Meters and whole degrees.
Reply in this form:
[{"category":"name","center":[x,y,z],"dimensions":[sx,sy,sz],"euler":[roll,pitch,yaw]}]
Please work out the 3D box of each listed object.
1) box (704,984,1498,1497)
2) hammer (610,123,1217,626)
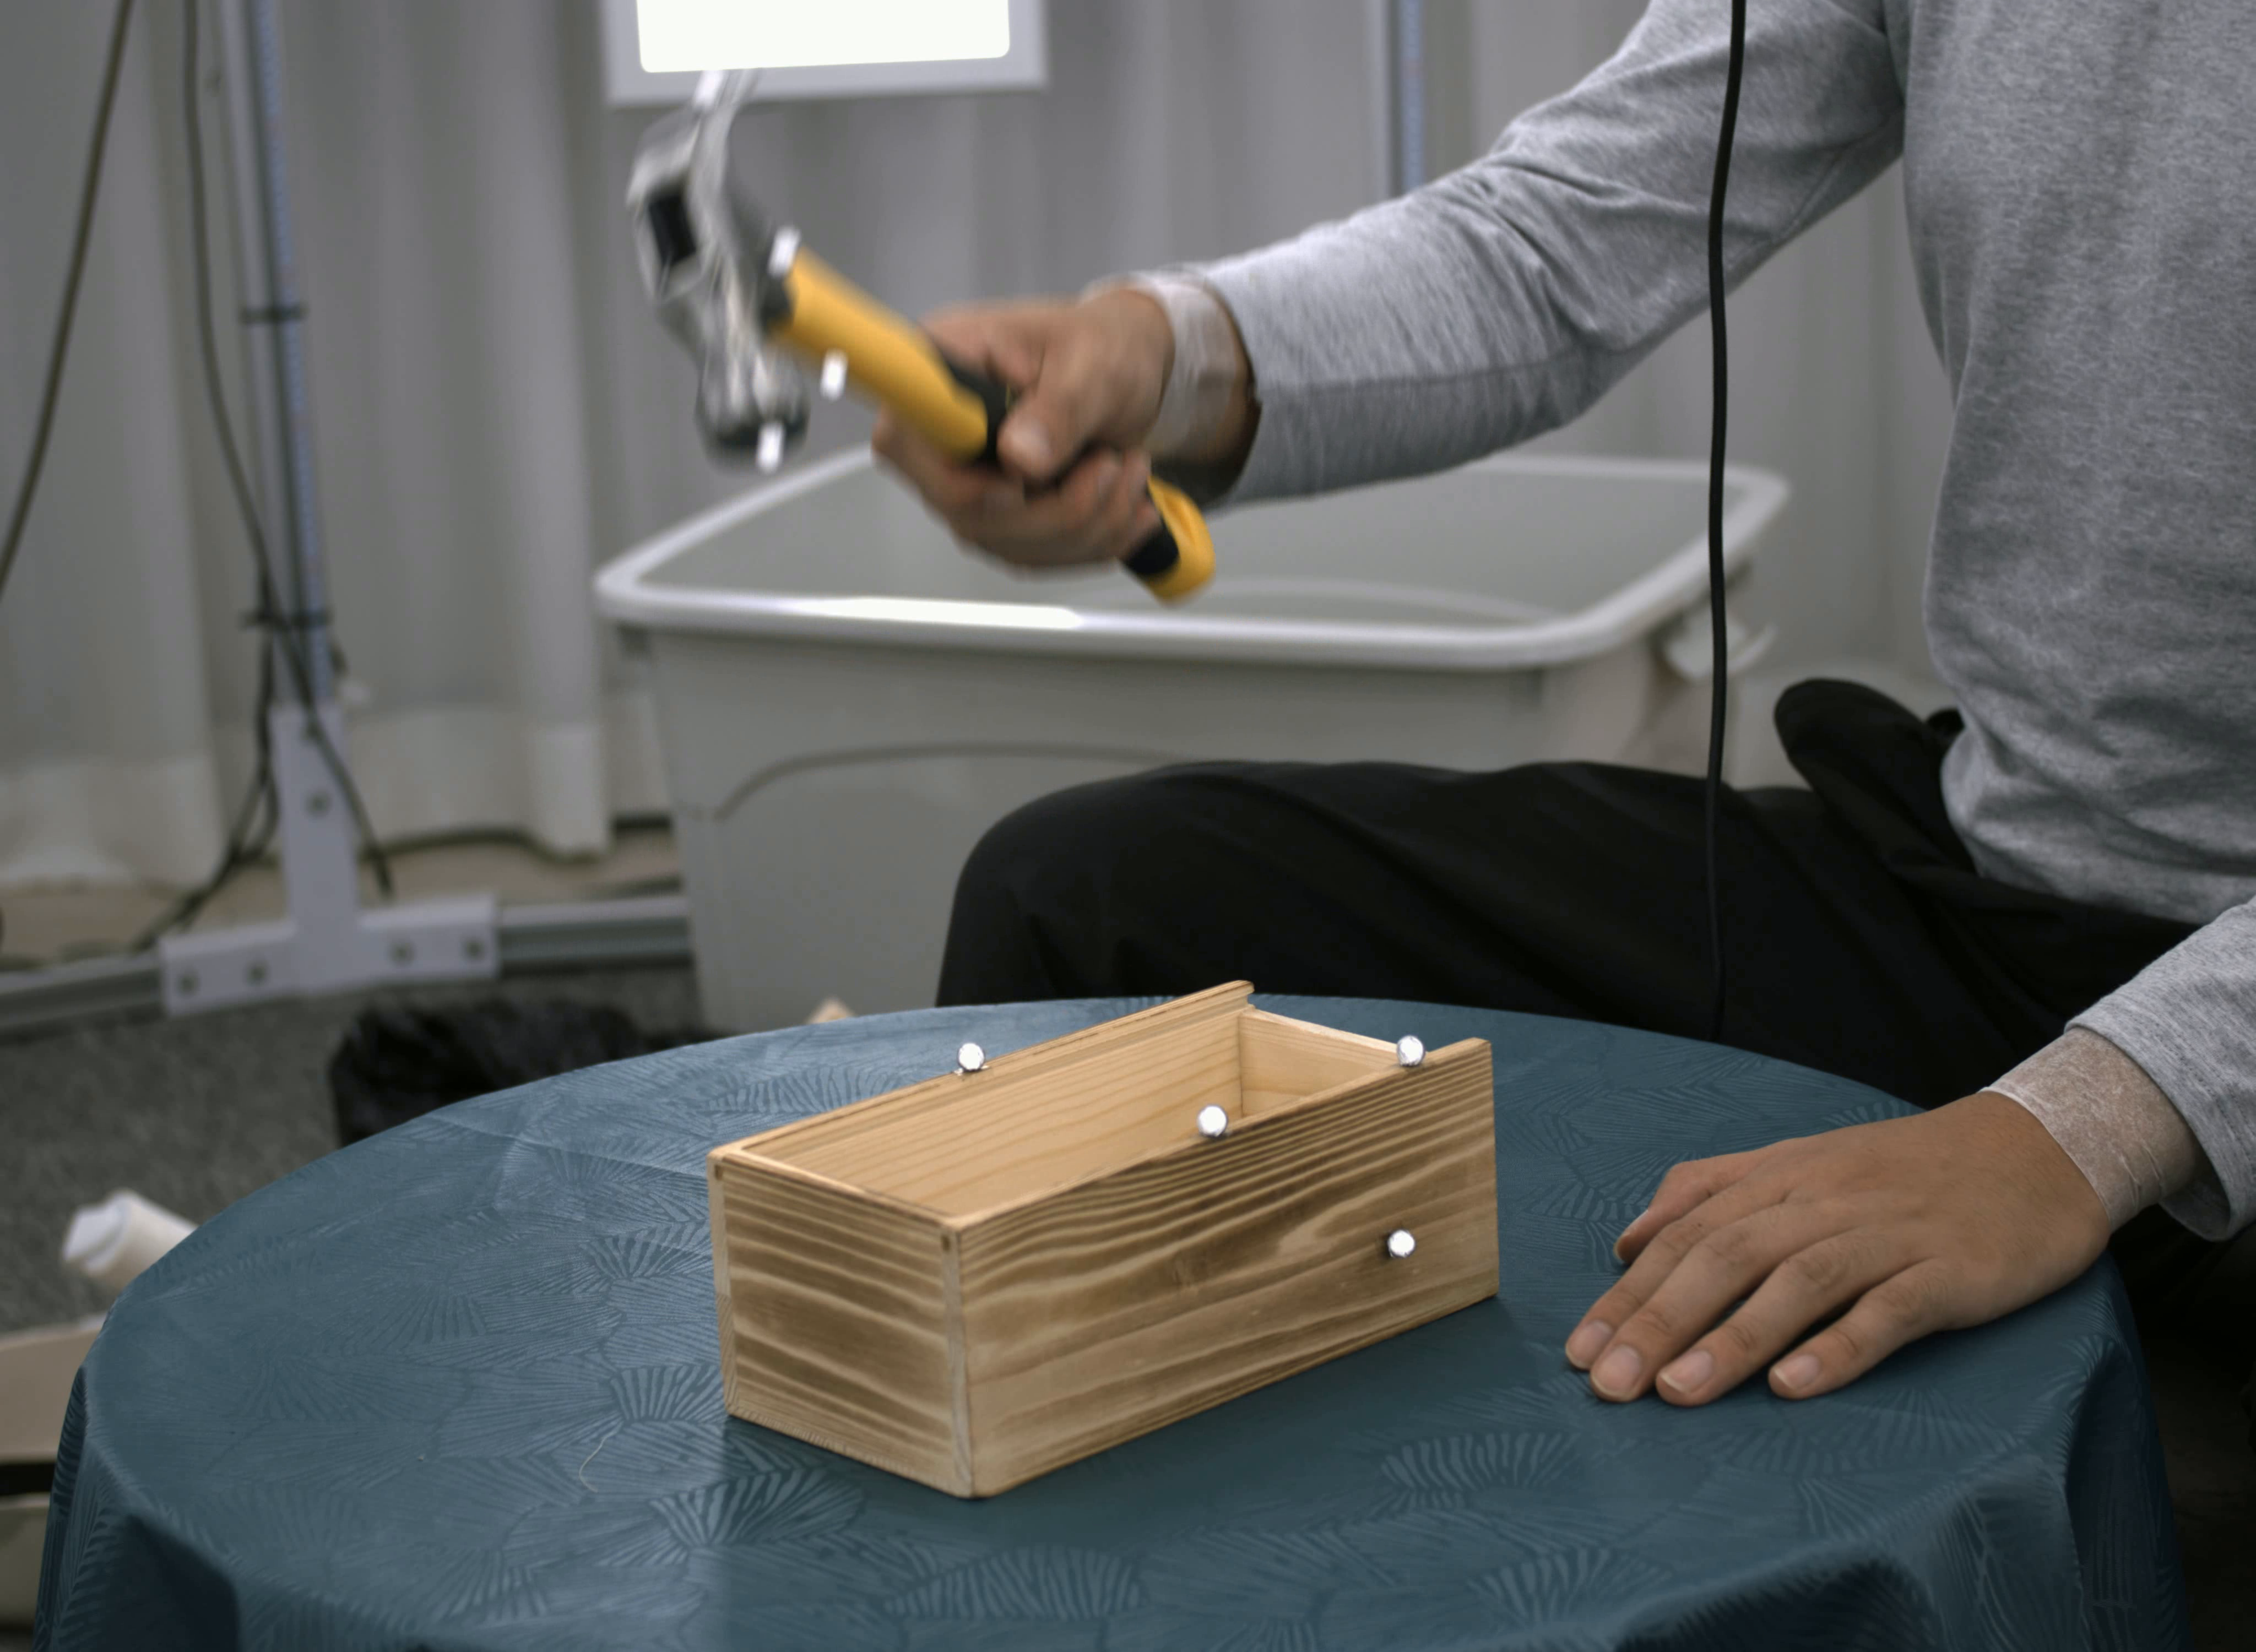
[{"category":"box","center":[-0.005,0.114,1.565],"dimensions":[0.211,0.080,0.108],"euler":[-16,19,-41]},{"category":"hammer","center":[-0.057,-0.122,1.706],"dimensions":[0.032,0.133,0.335],"euler":[-30,-25,18]}]
